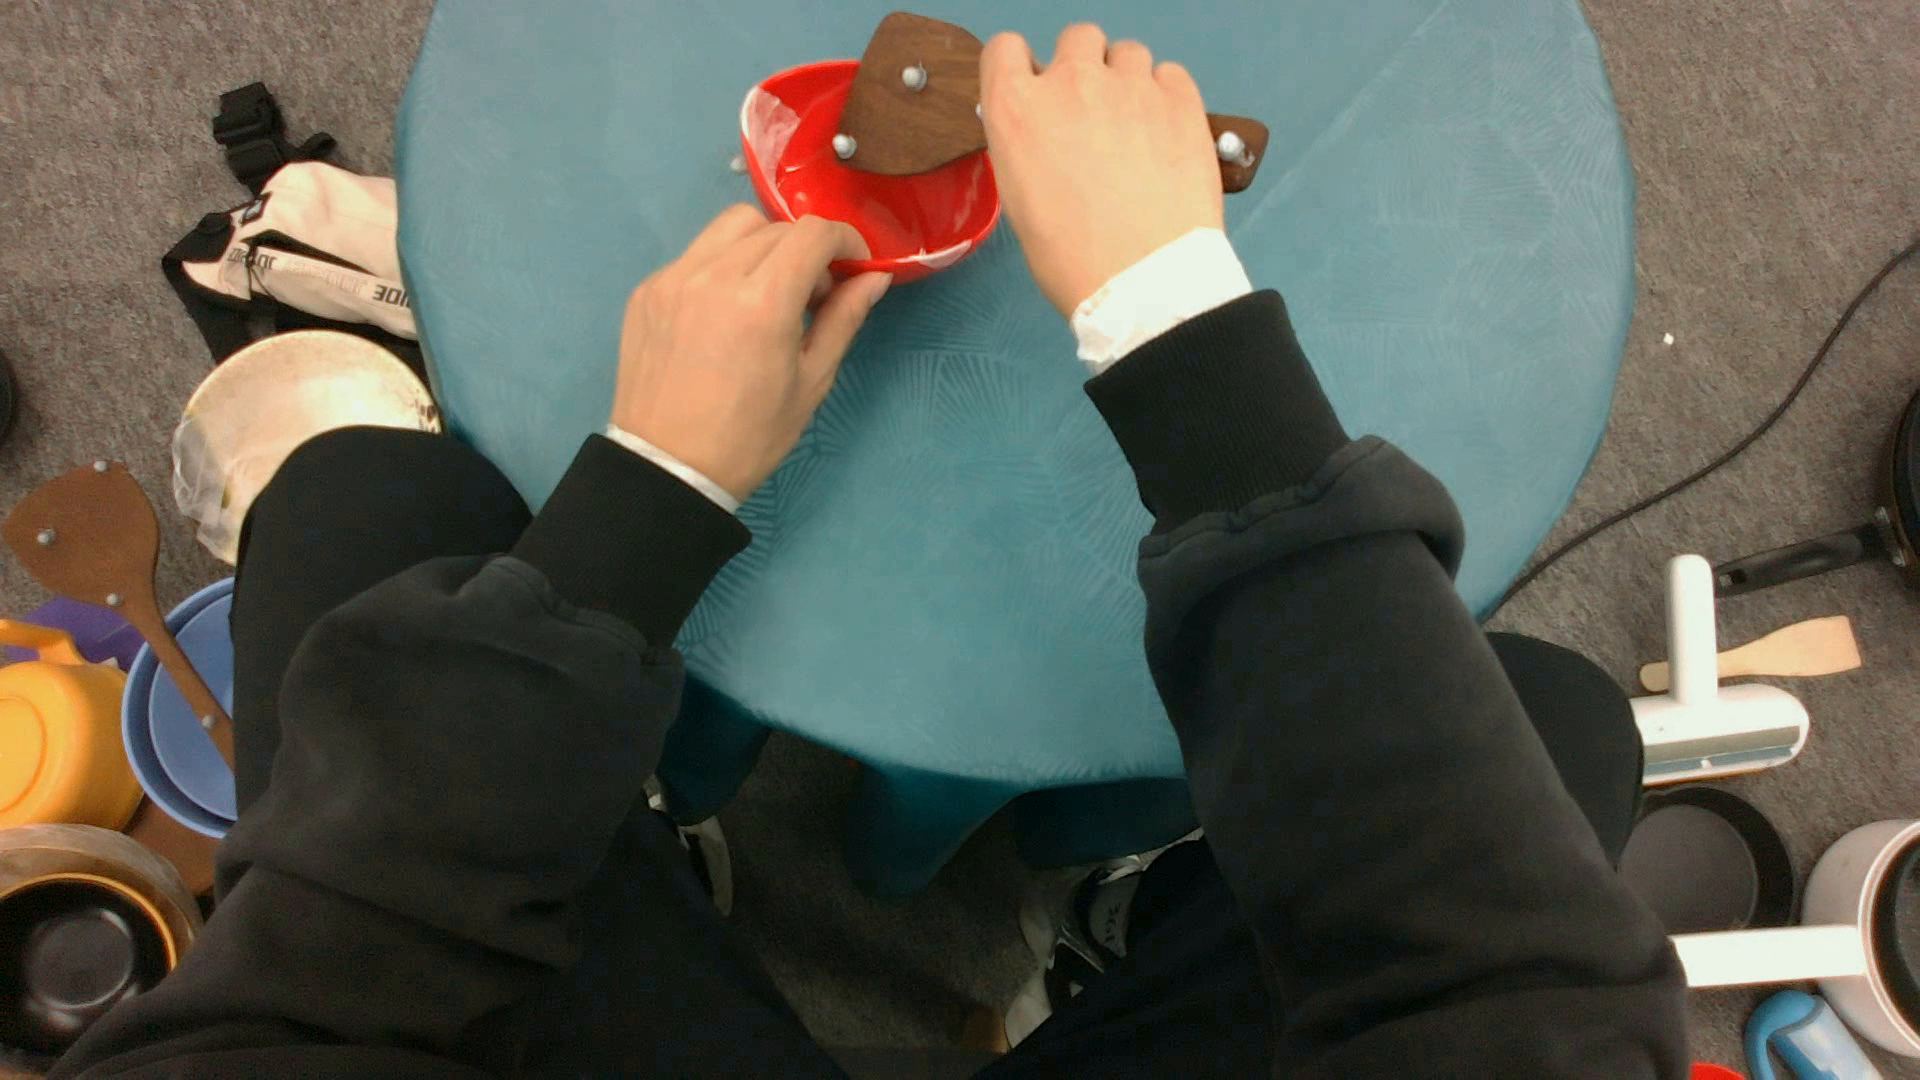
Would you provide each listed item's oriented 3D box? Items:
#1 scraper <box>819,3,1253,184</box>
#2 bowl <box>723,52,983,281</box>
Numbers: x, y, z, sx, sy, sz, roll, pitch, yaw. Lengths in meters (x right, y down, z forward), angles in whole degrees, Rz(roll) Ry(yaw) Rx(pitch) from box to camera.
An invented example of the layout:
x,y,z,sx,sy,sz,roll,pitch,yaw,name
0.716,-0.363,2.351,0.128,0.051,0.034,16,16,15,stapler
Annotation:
x,y,z,sx,sy,sz,roll,pitch,yaw,name
0.025,-0.175,0.562,0.211,0.011,0.076,23,91,36,scraper
-0.053,-0.159,0.618,0.119,0.051,0.119,10,60,-17,bowl
